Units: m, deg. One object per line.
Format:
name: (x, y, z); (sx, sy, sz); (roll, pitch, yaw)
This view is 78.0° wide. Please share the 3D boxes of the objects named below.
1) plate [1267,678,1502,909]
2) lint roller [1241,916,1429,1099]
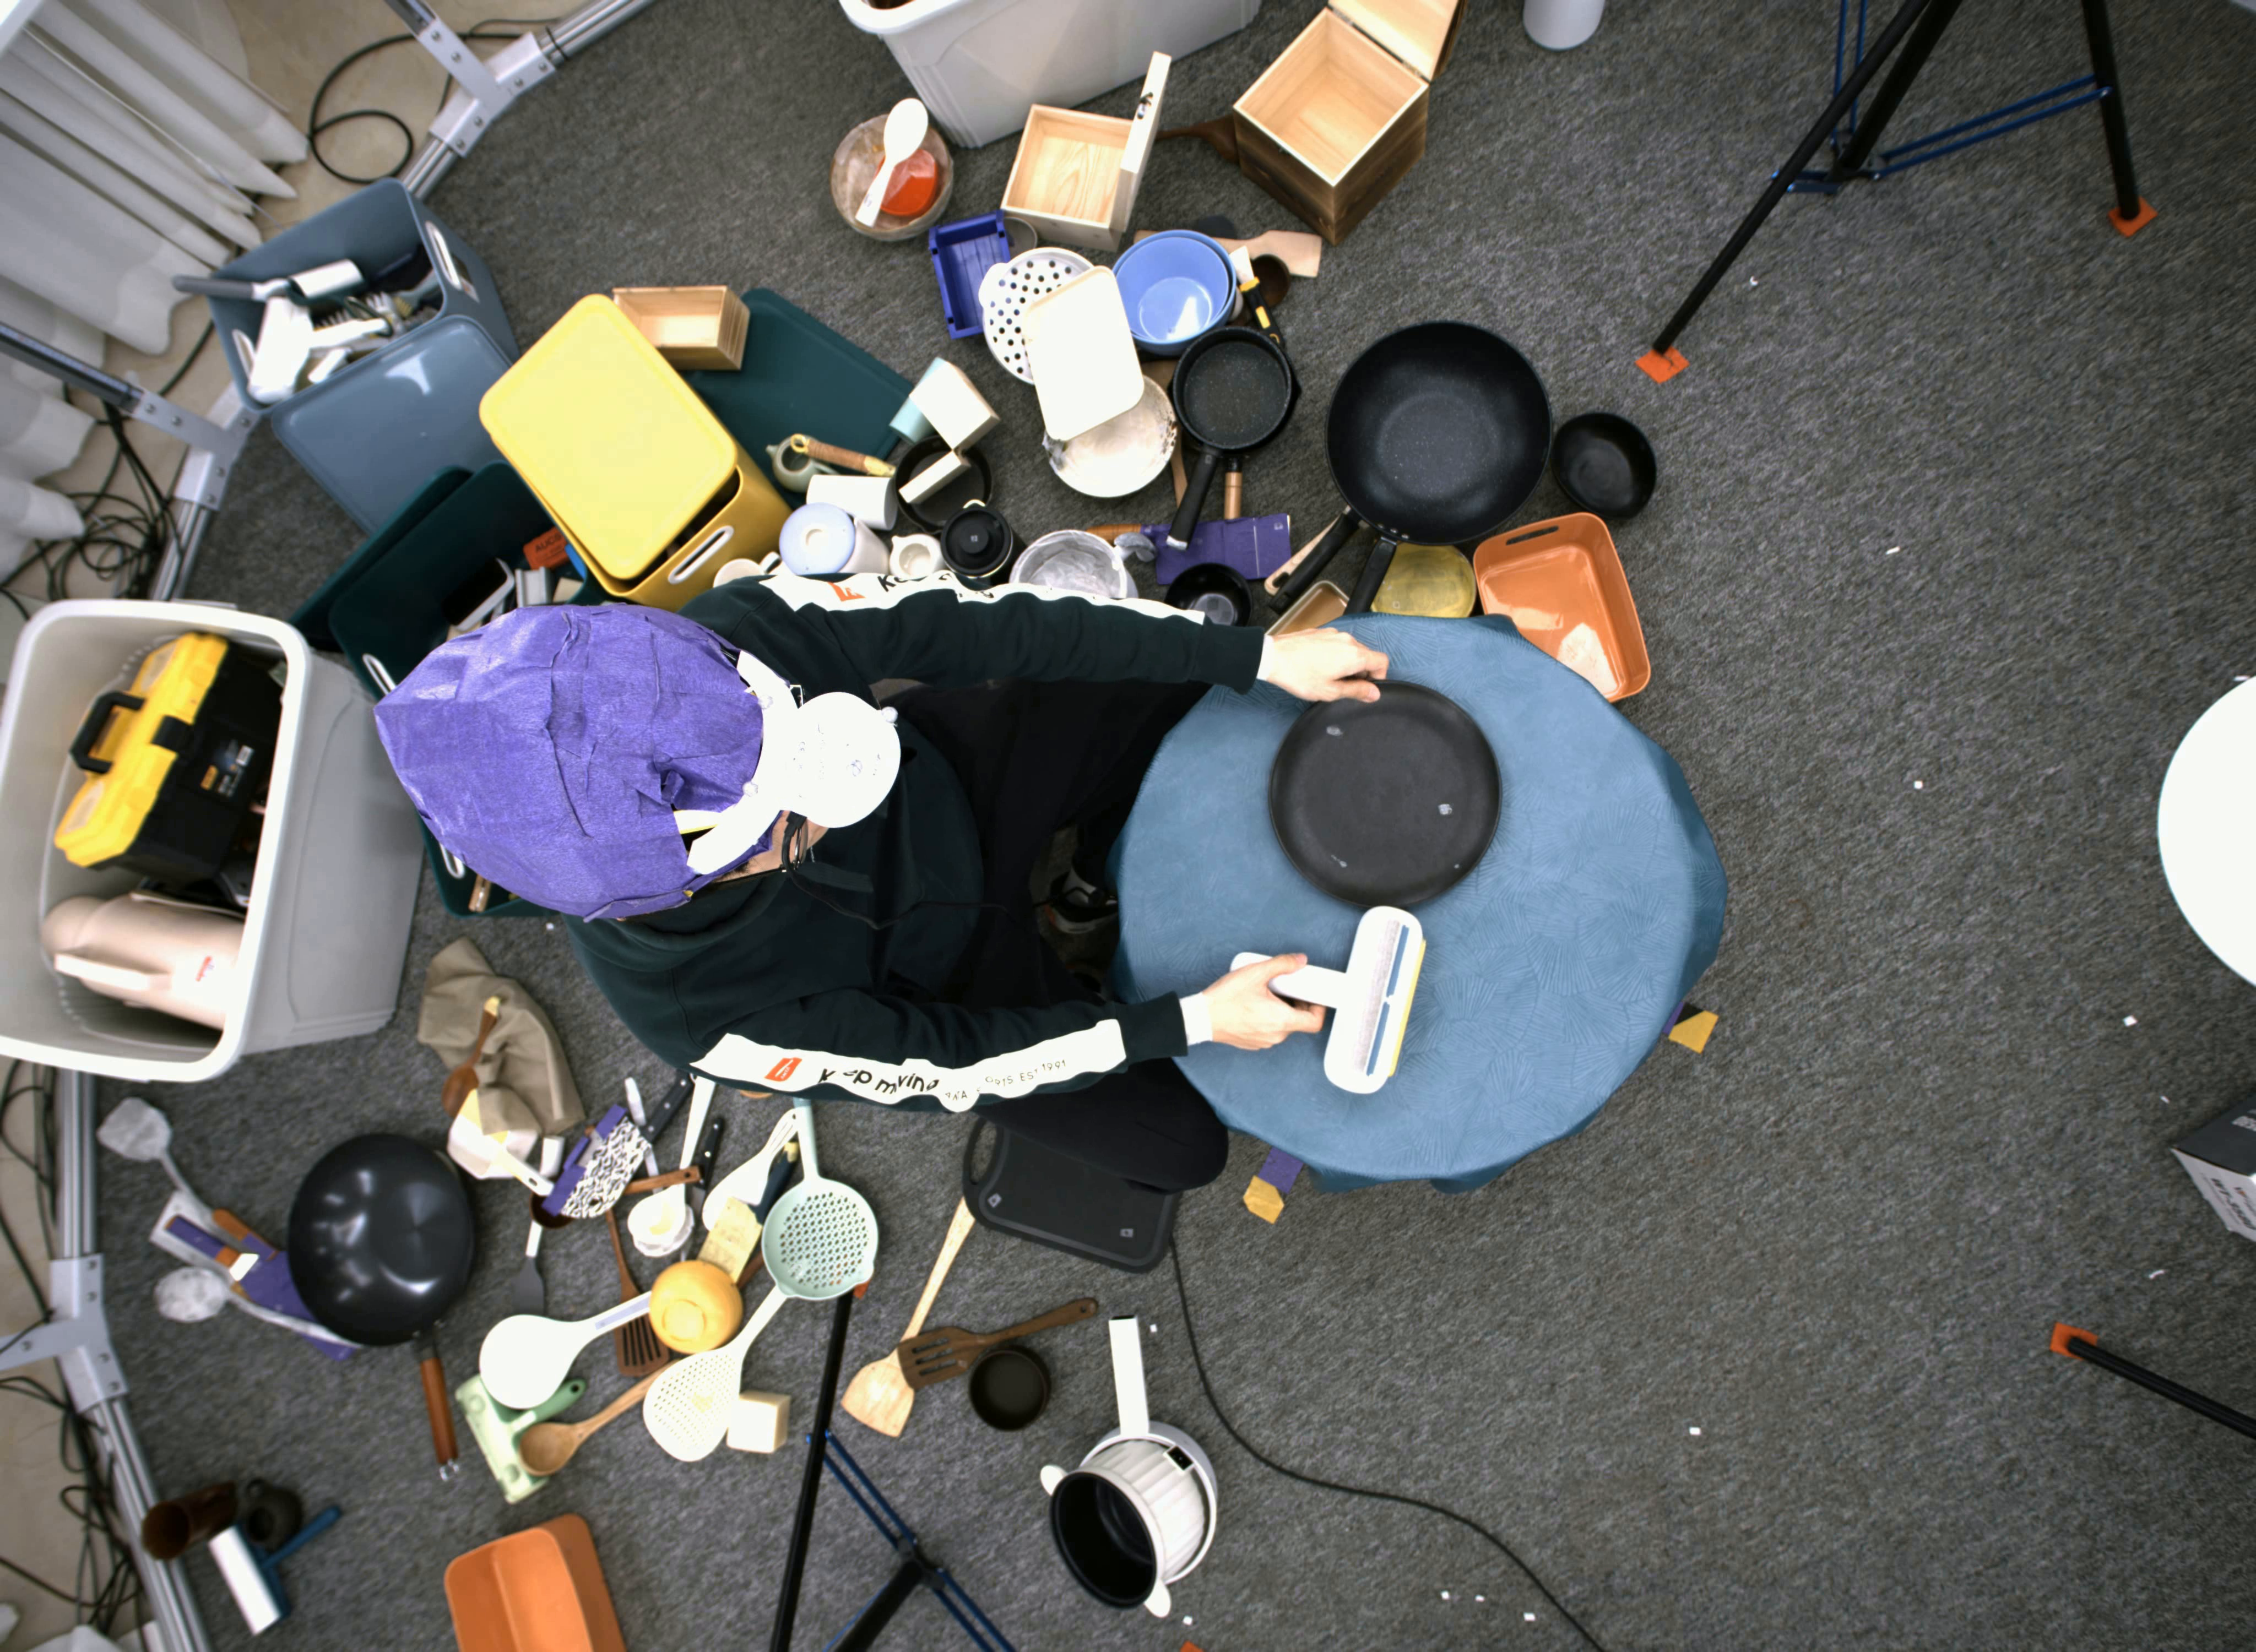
plate: (0.269, -0.035, 1.449); (0.245, 0.023, 0.243); (-1, 87, 10)
lint roller: (0.201, 0.171, 1.447); (0.192, 0.075, 0.191); (18, 82, 25)
